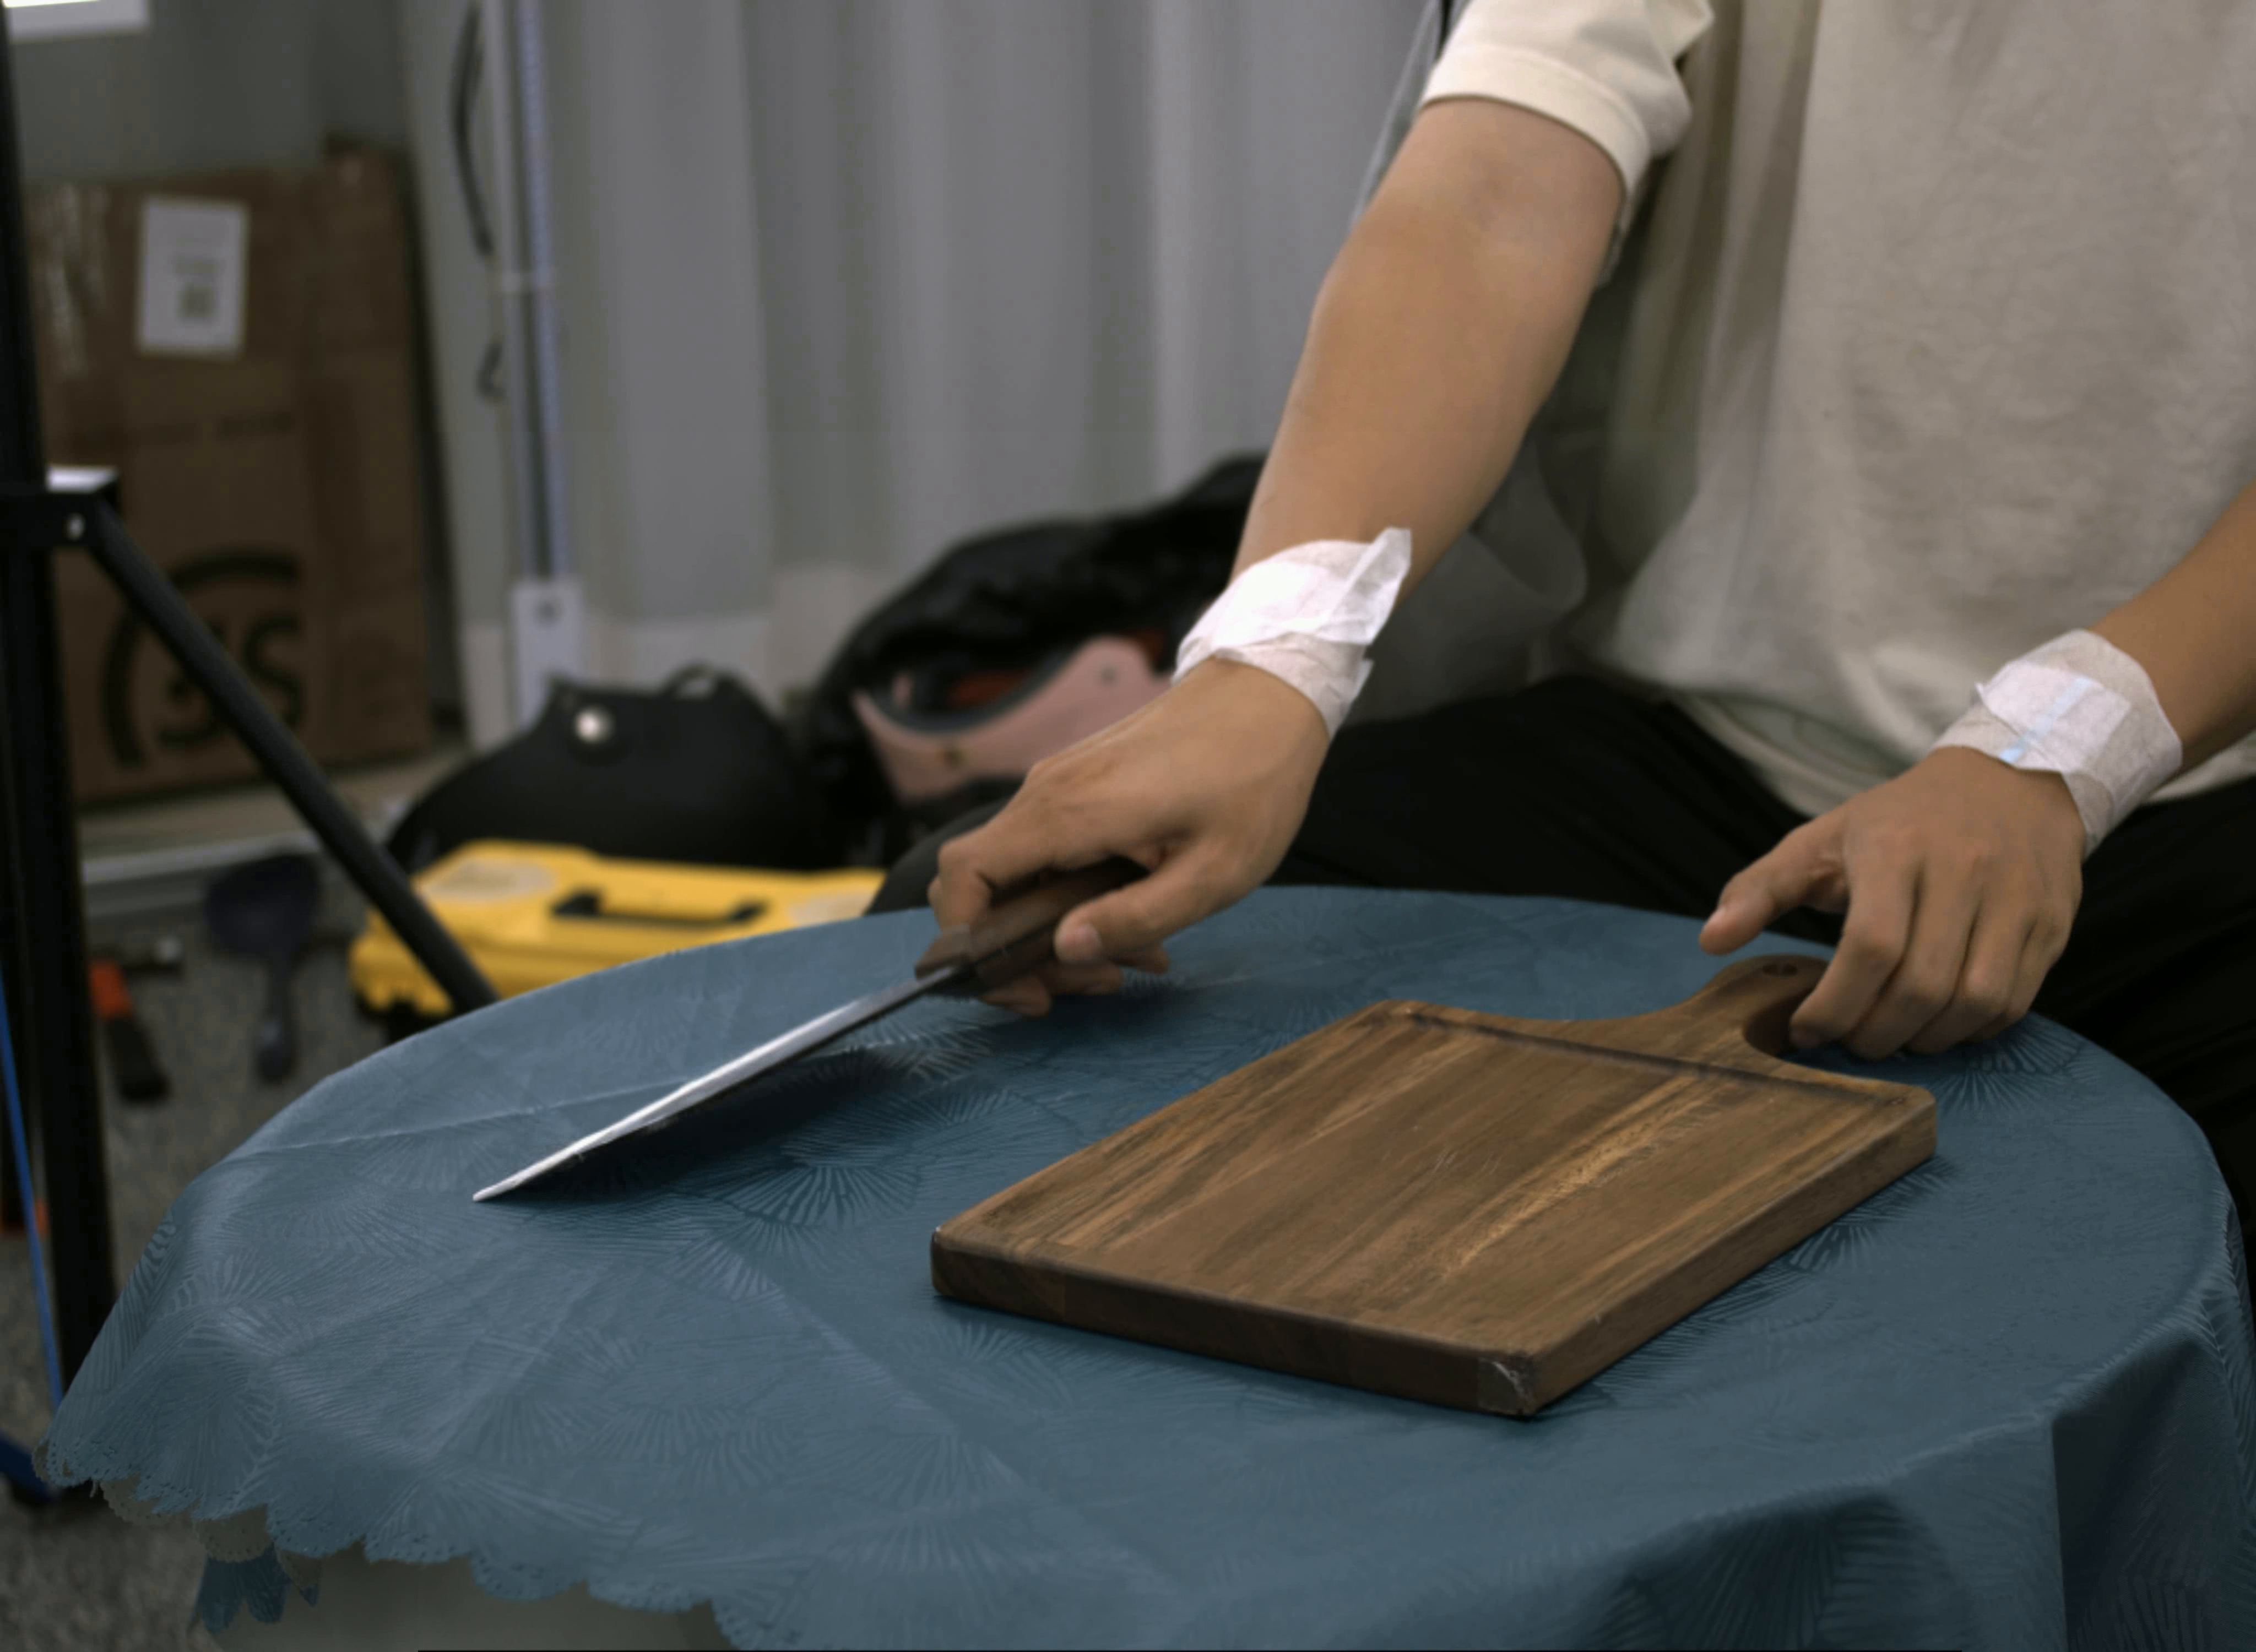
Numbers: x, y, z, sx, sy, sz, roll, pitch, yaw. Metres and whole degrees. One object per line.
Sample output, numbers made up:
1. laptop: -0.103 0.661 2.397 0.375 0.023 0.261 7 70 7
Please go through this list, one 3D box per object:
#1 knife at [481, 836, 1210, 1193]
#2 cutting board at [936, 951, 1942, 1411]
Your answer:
1. knife: -0.083 0.060 1.666 0.069 0.024 0.293 -18 5 44
2. cutting board: 0.121 0.092 1.555 0.205 0.023 0.345 8 18 34
